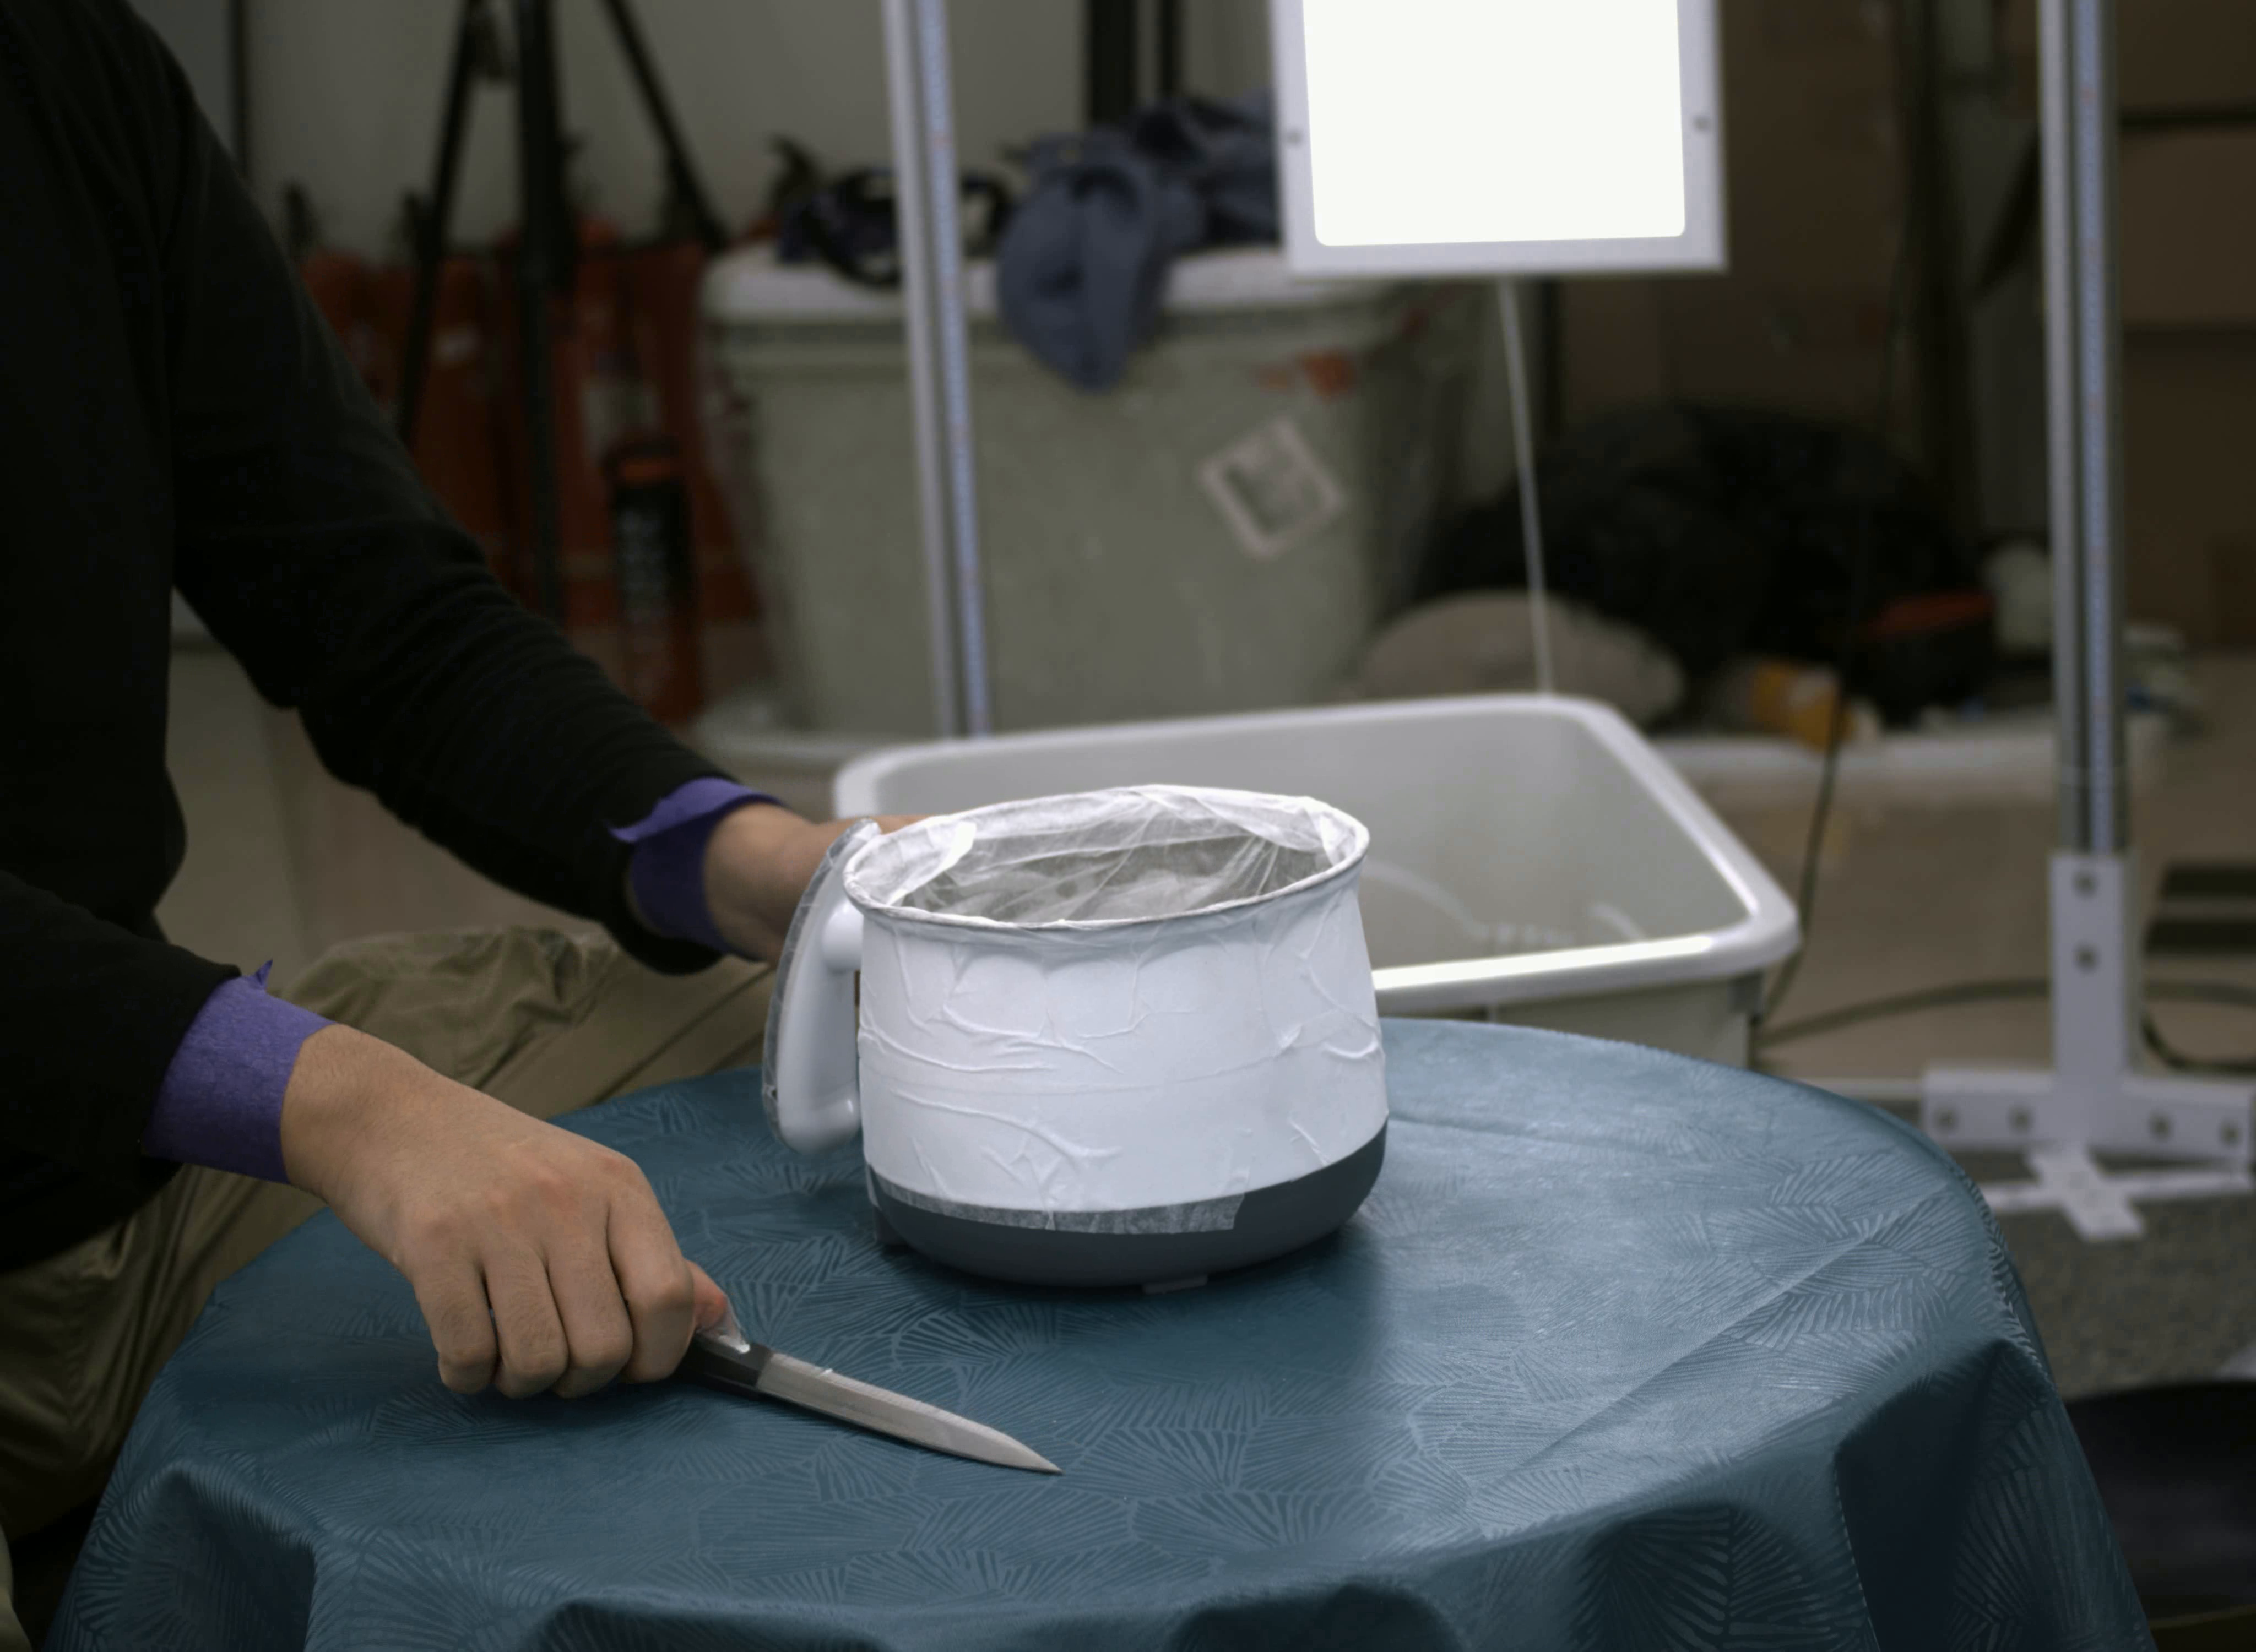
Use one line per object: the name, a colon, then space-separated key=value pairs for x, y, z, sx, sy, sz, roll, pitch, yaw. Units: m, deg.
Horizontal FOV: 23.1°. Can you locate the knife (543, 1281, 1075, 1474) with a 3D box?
knife: x=-0.104 y=0.174 z=1.720 sx=0.243 sy=0.016 sz=0.024 roll=12 pitch=23 yaw=44

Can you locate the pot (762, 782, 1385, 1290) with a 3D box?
pot: x=-0.027 y=0.066 z=1.857 sx=0.238 sy=0.137 sz=0.174 roll=6 pitch=17 yaw=33
